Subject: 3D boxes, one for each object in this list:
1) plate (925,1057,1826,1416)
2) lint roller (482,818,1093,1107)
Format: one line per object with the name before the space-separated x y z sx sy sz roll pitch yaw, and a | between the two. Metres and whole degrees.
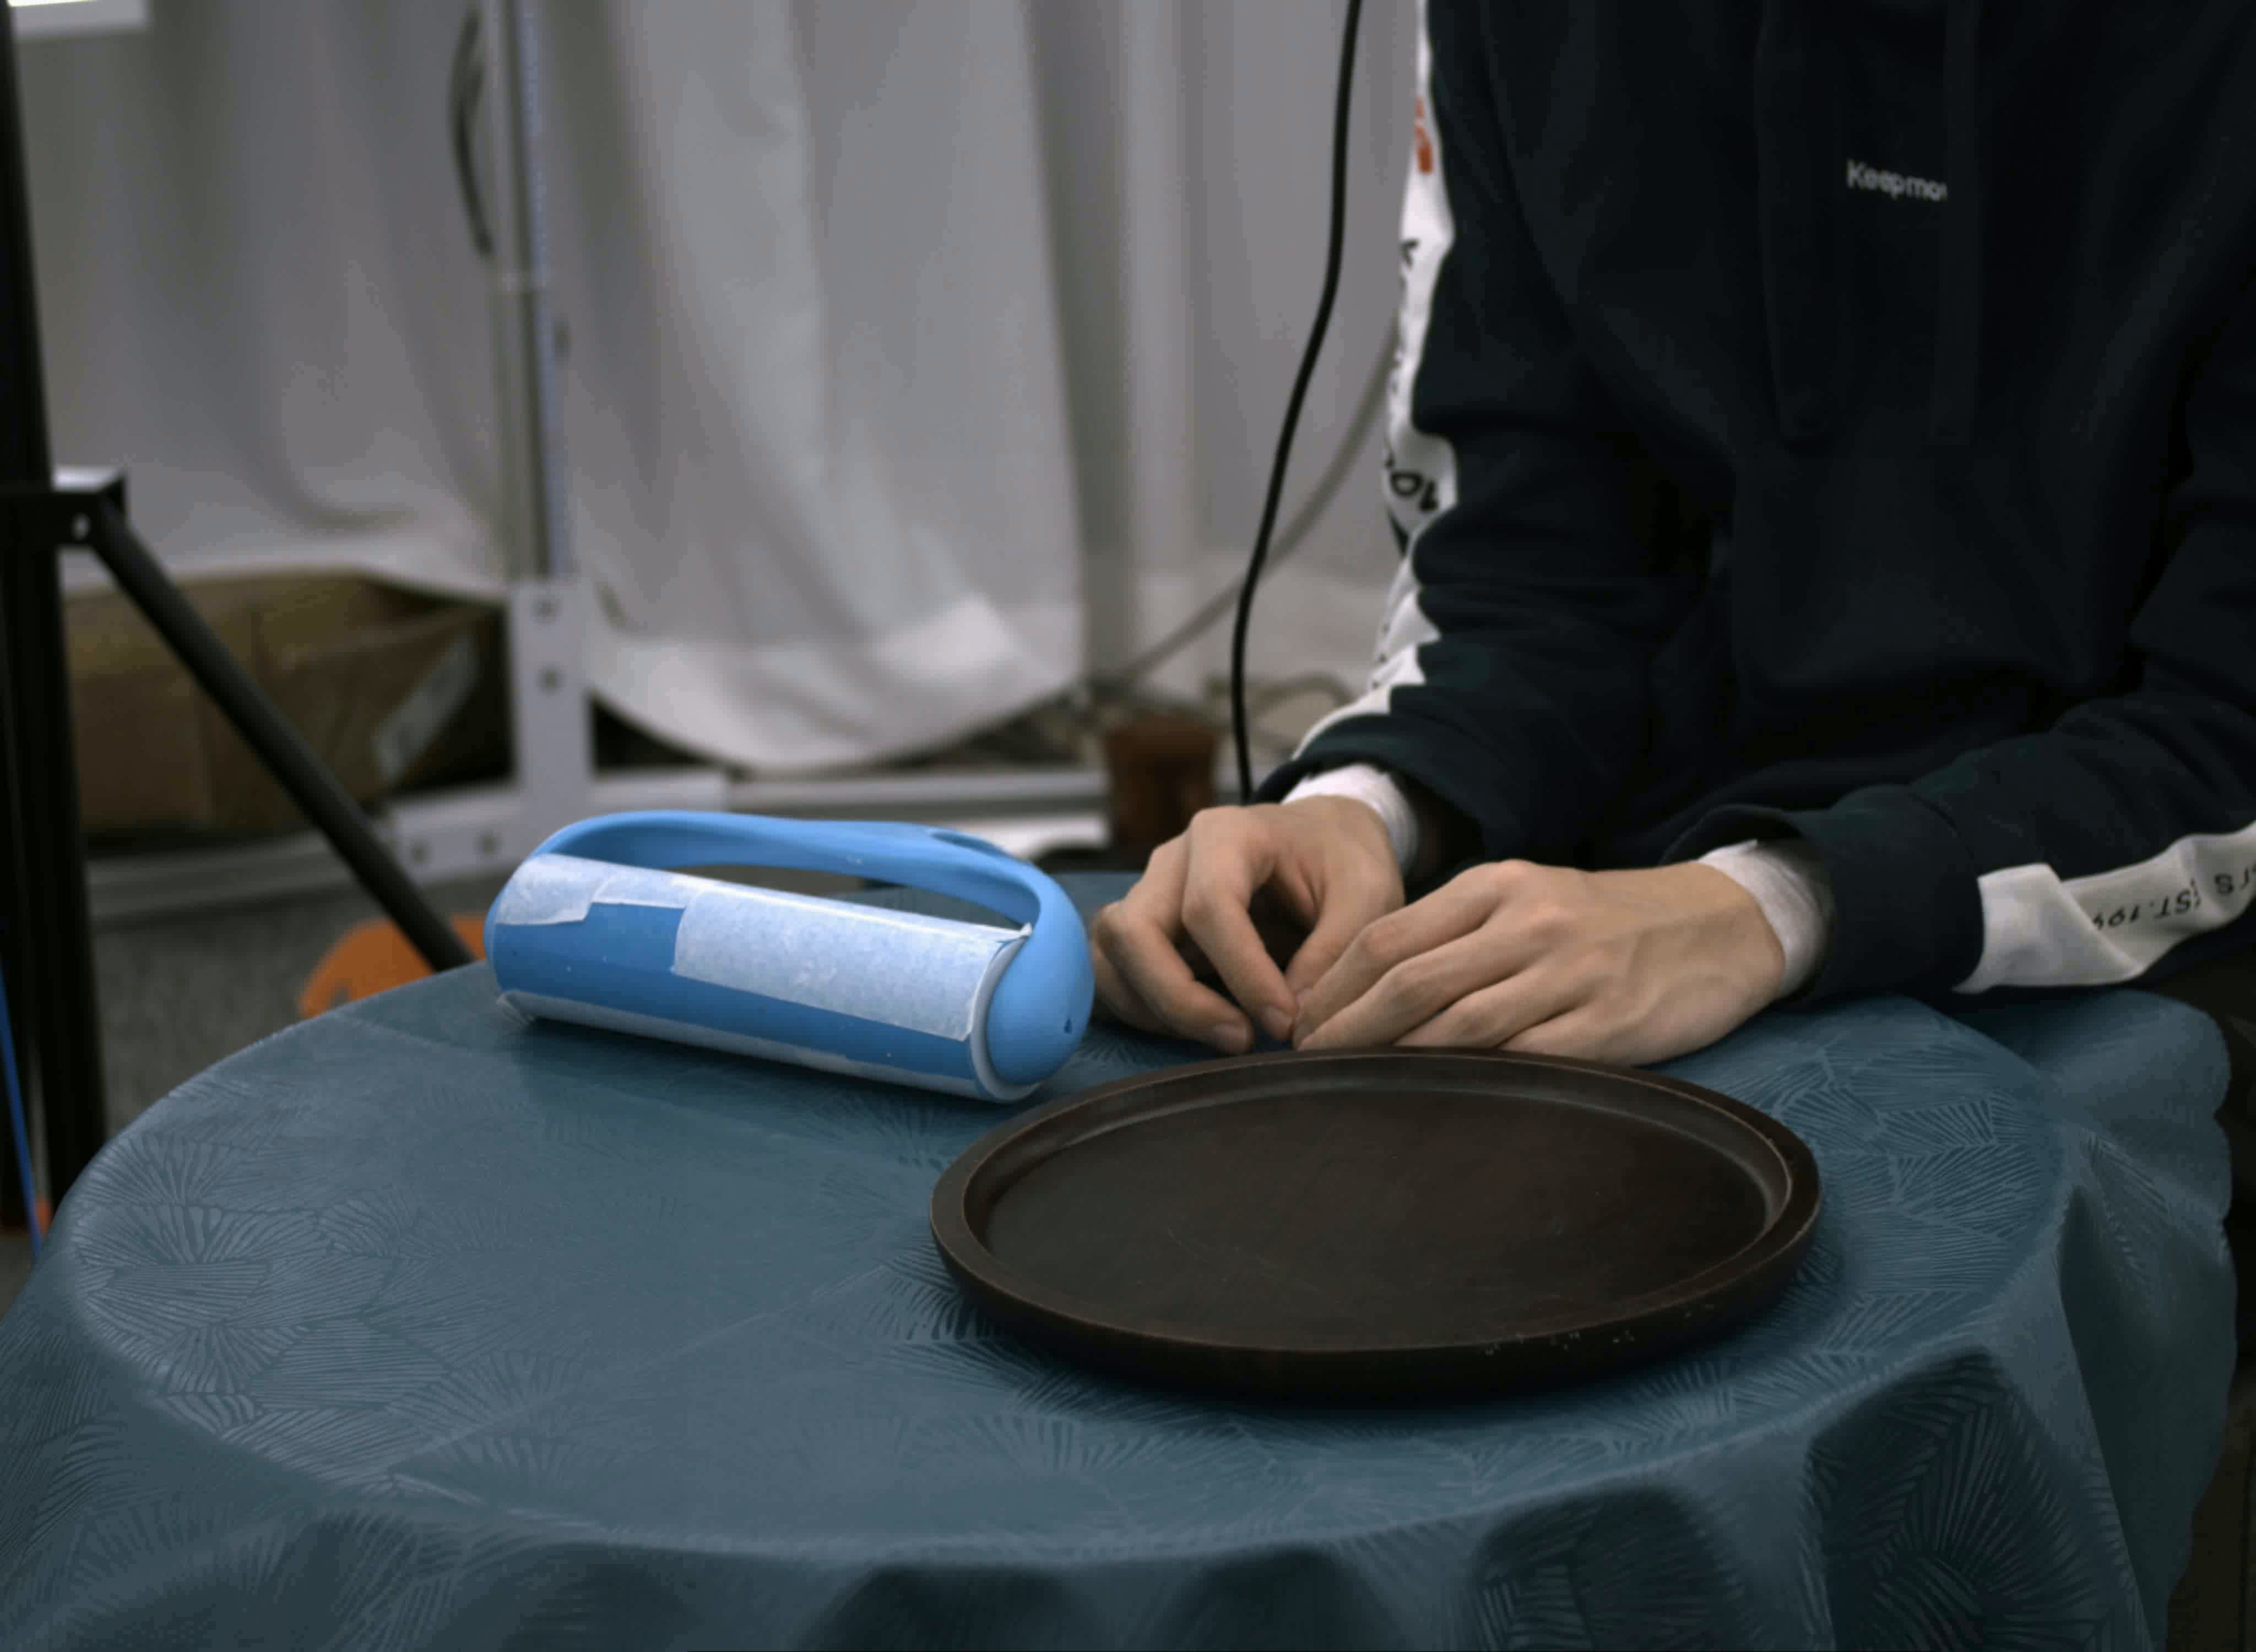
plate | 0.070 0.112 1.490 0.253 0.029 0.256 -3 17 -1
lint roller | -0.081 0.032 1.737 0.233 0.068 0.177 6 19 33
